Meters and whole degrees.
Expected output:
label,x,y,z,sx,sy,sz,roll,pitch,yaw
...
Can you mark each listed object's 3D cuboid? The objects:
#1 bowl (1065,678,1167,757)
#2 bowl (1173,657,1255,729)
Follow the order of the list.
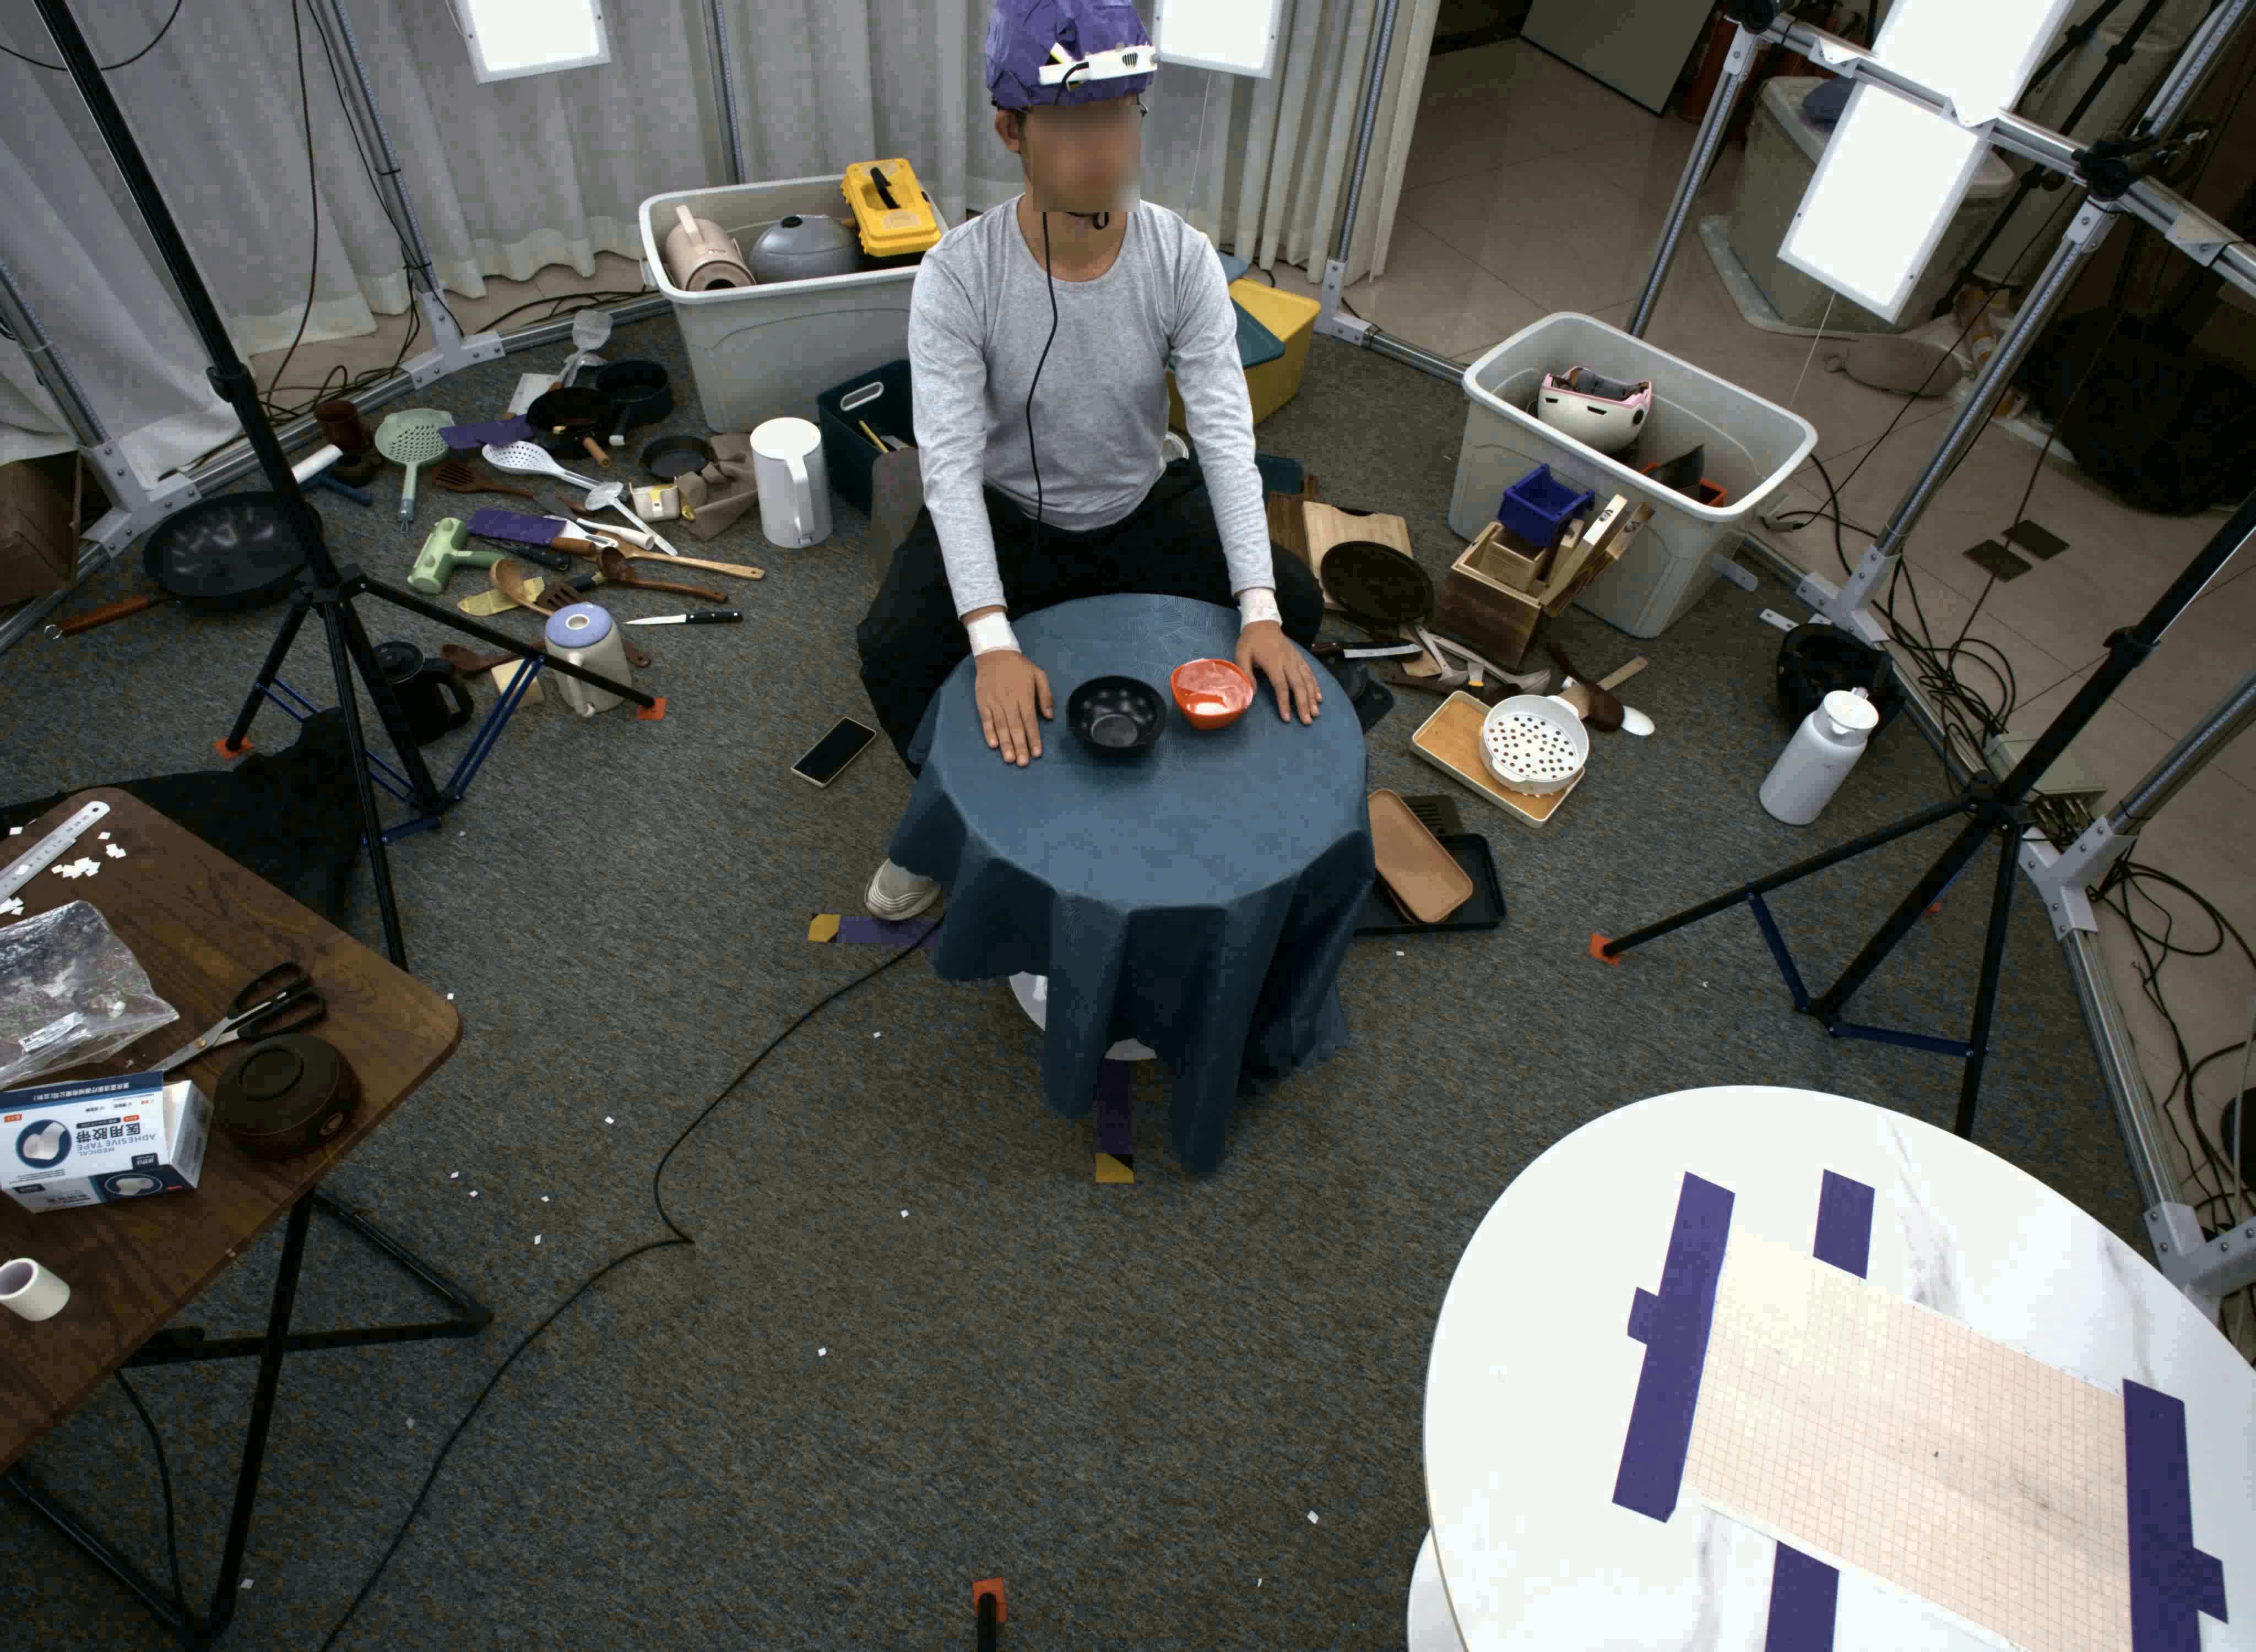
label,x,y,z,sx,sy,sz,roll,pitch,yaw
bowl,-0.017,-0.140,1.760,0.140,0.048,0.143,2,45,-3
bowl,0.118,-0.179,1.795,0.119,0.050,0.122,2,52,-2
